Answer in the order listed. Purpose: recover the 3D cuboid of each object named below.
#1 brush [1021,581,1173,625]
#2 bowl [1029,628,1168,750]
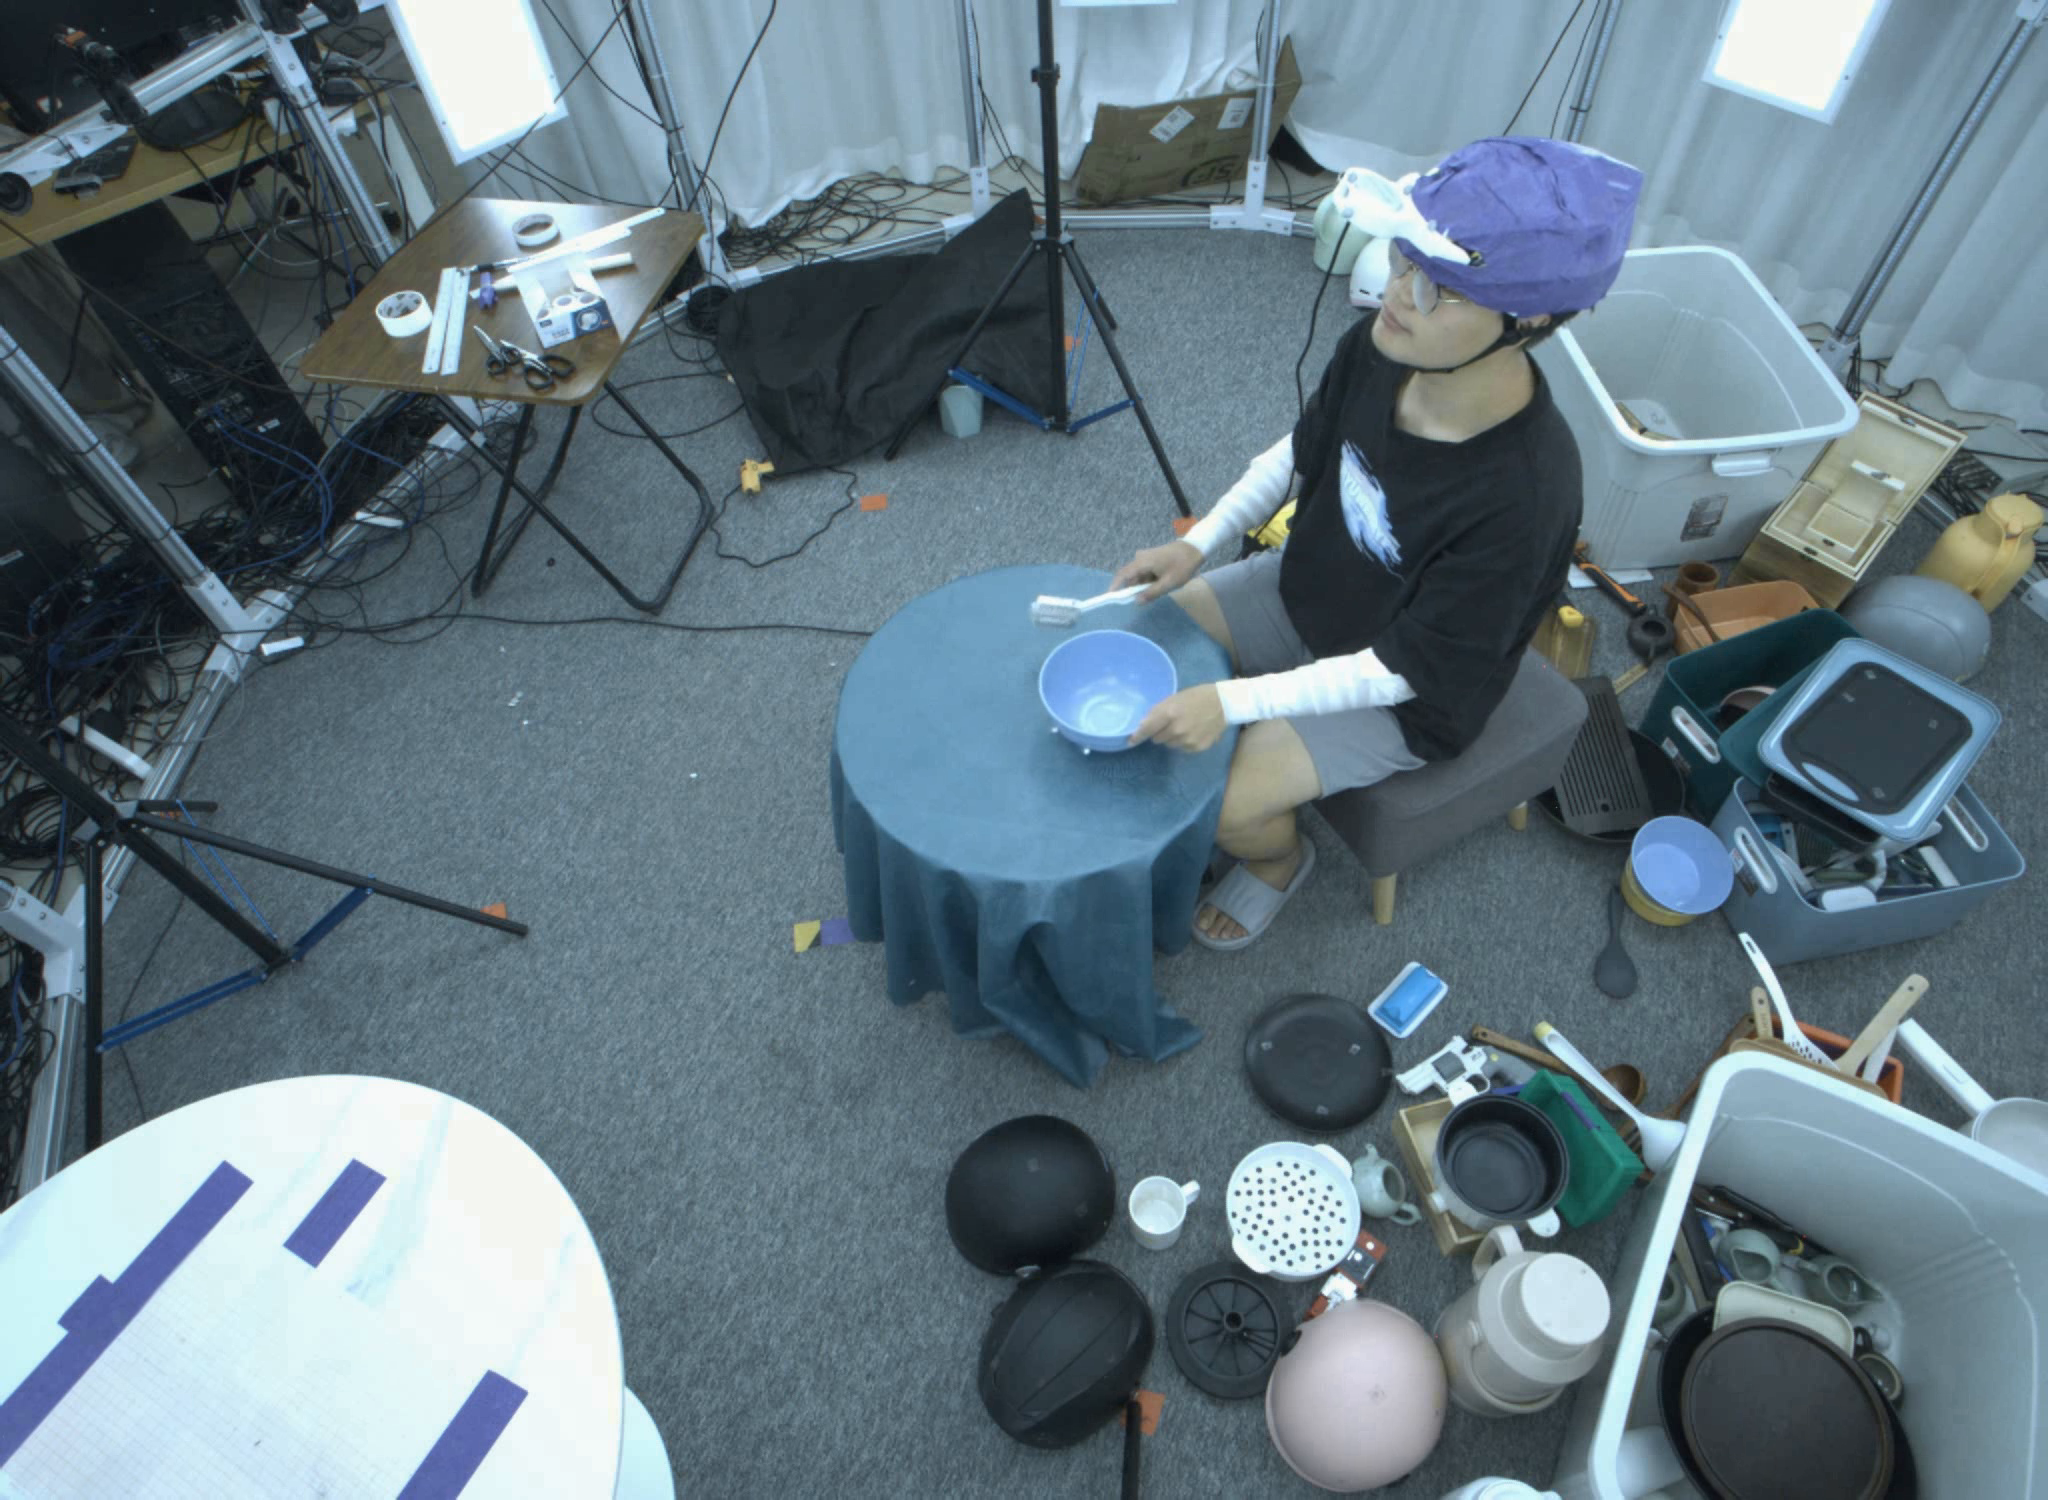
[{"bbox_3d":[0.112,-0.221,1.848,0.246,0.034,0.049,-7,64,-13],"label":"brush"},{"bbox_3d":[0.108,-0.073,1.767,0.196,0.096,0.194,-1,54,3],"label":"bowl"}]
